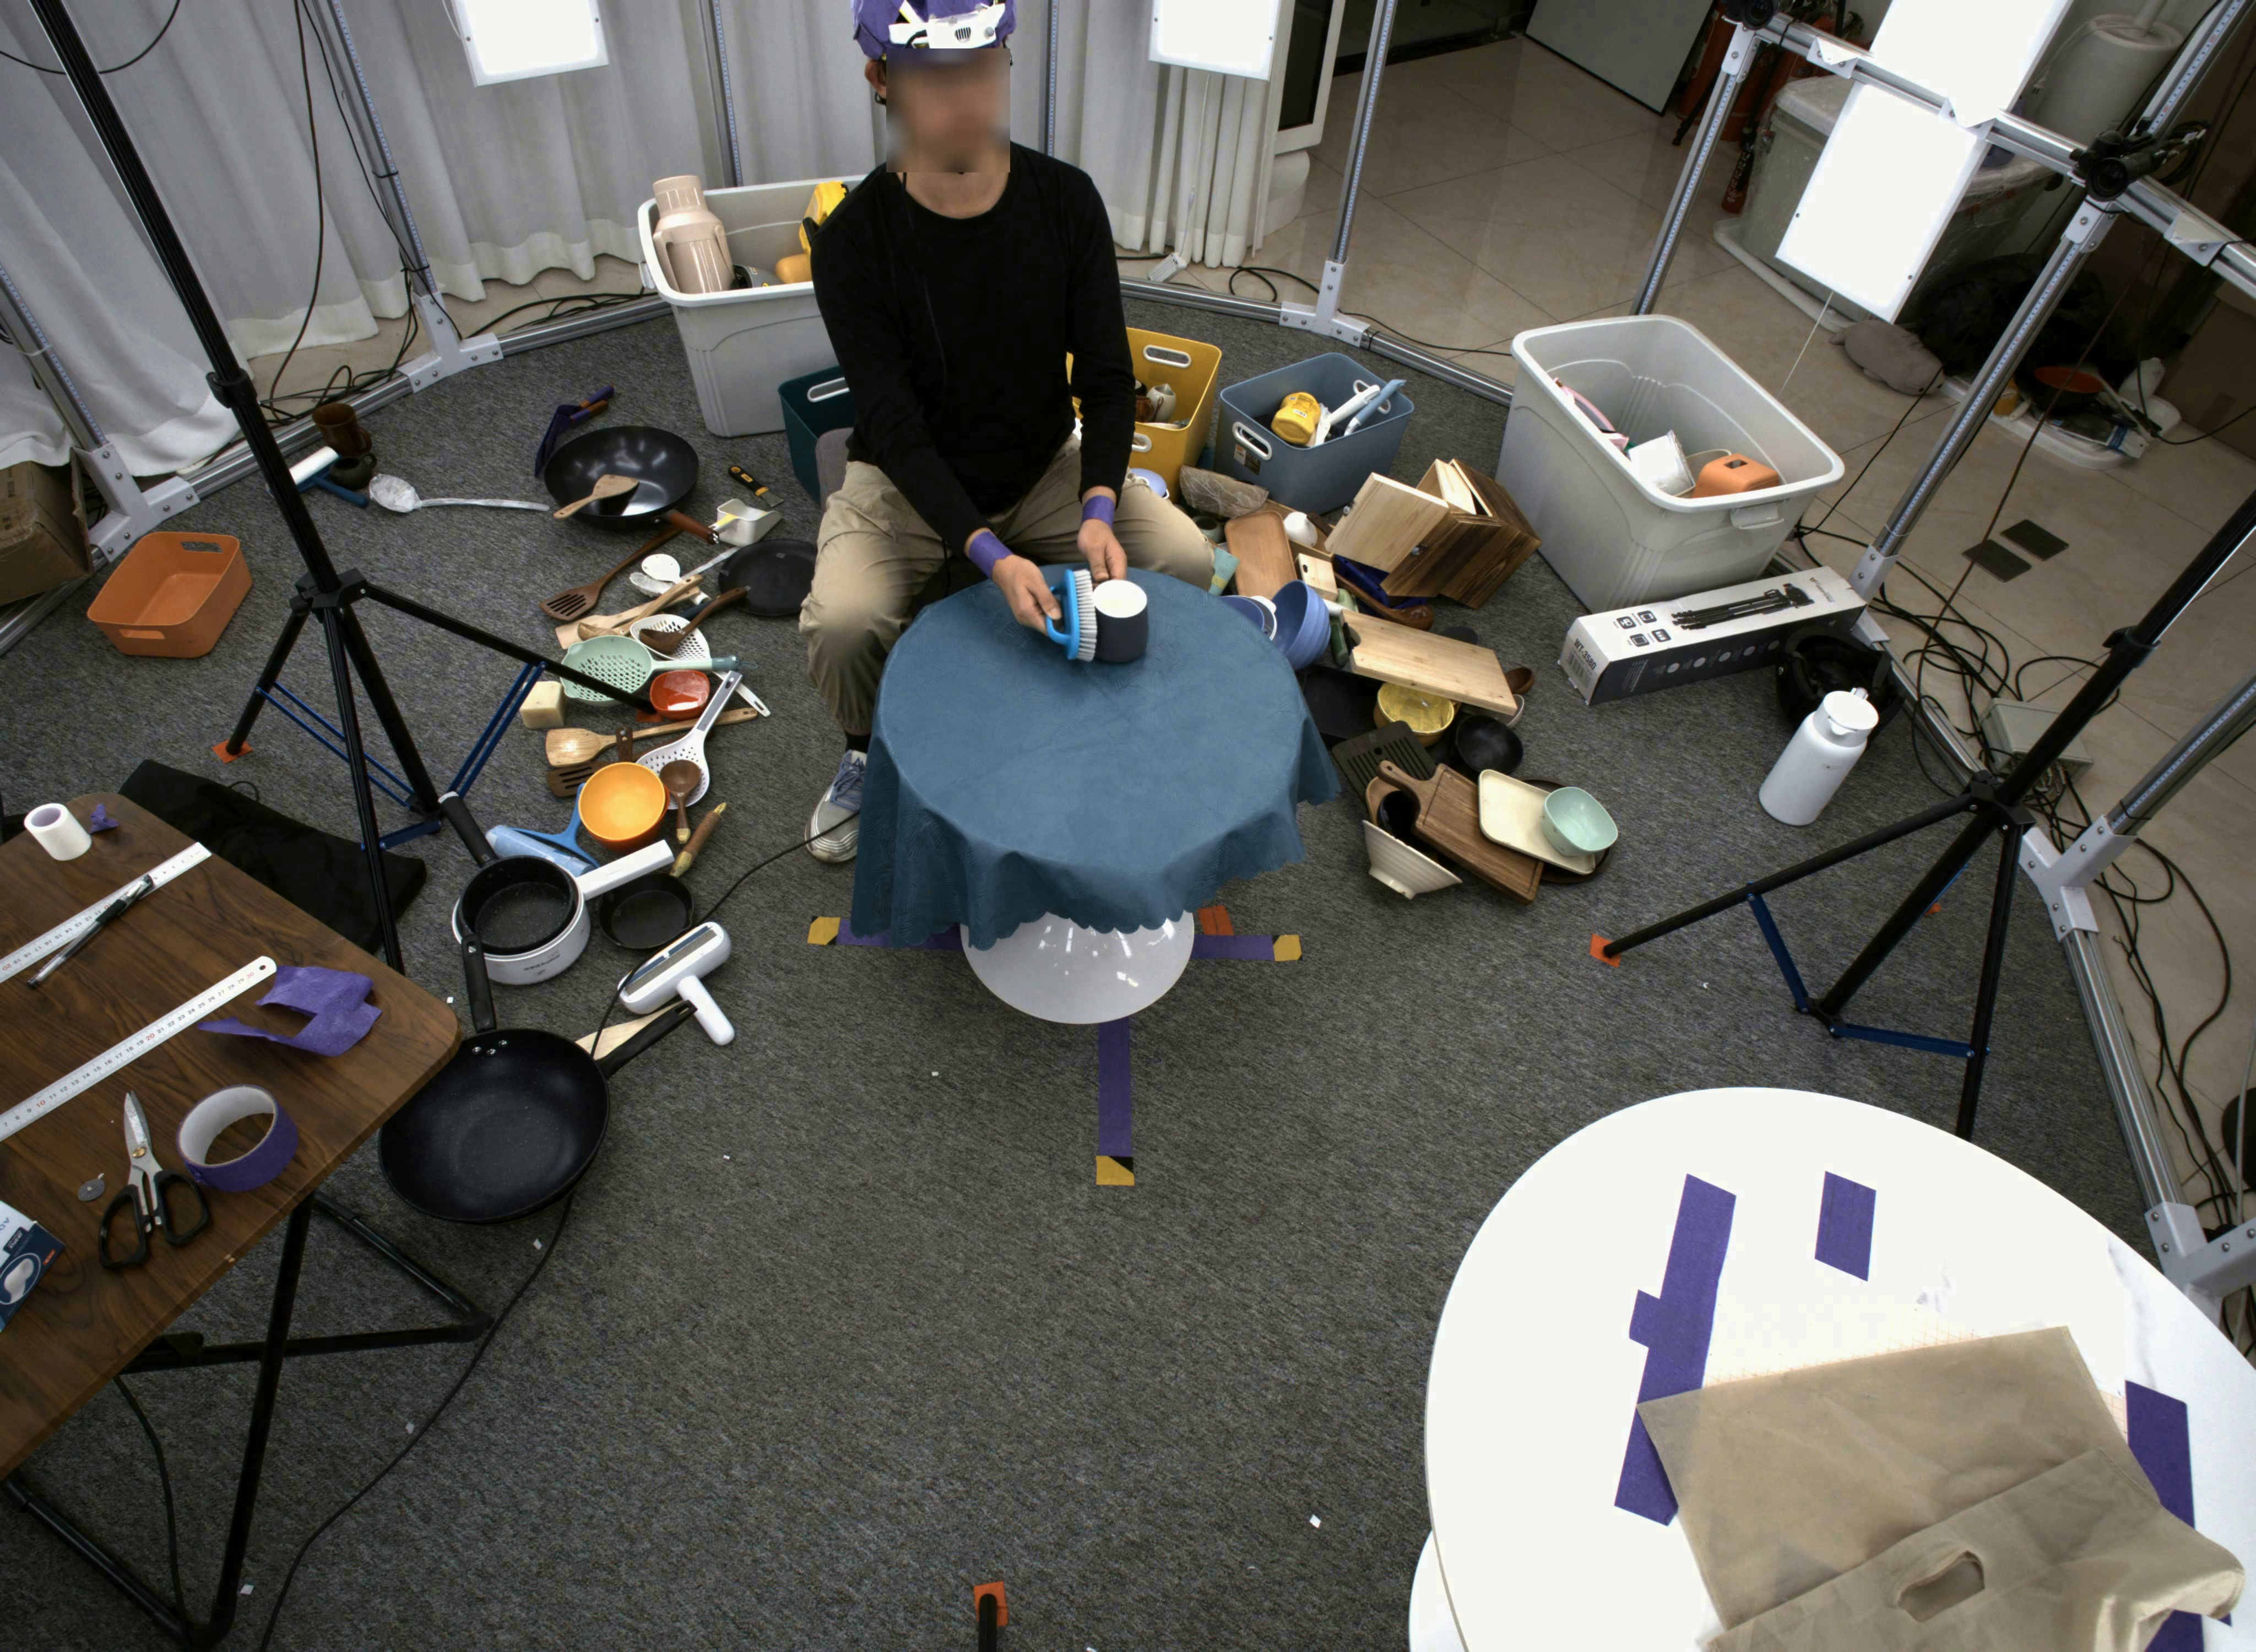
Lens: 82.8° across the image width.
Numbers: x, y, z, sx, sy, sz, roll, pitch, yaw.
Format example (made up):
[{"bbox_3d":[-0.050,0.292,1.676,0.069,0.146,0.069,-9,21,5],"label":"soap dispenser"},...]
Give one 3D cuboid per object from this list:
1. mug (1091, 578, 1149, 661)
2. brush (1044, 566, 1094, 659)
[{"bbox_3d":[-0.018,-0.309,1.872,0.093,0.088,0.126,-10,52,-14],"label":"mug"},{"bbox_3d":[-0.087,-0.303,1.835,0.063,0.083,0.144,-1,68,-10],"label":"brush"}]
